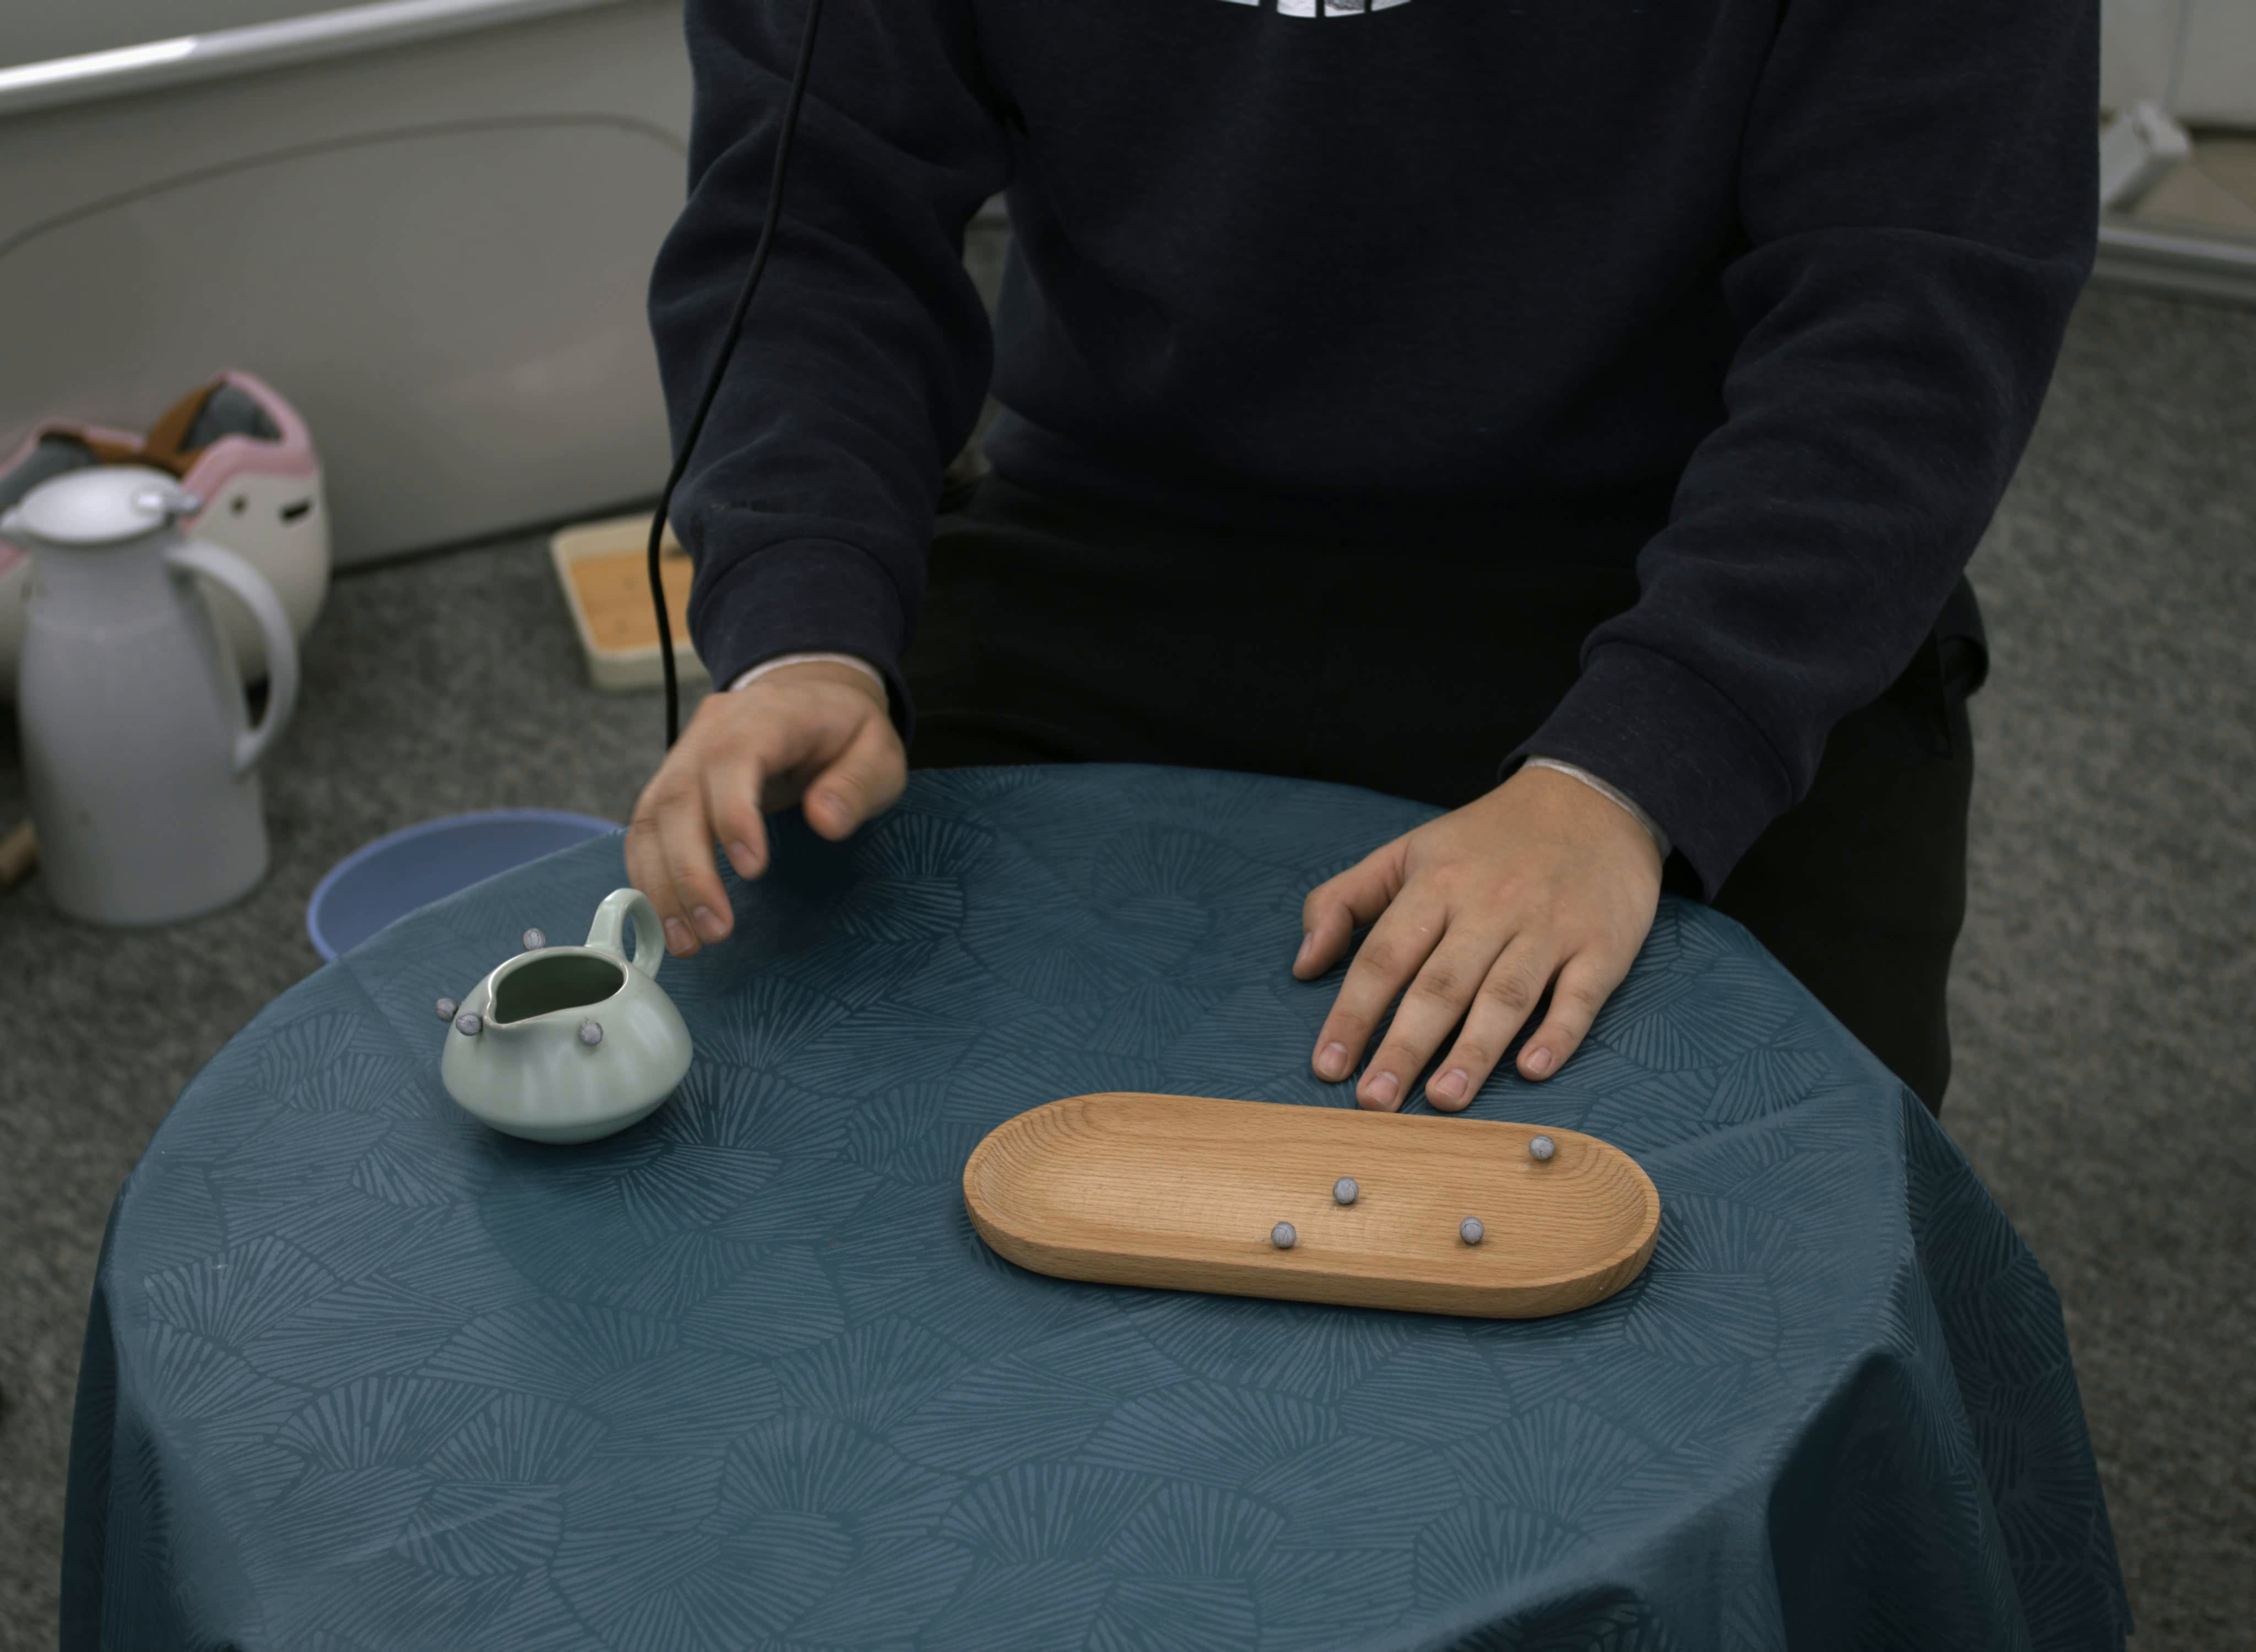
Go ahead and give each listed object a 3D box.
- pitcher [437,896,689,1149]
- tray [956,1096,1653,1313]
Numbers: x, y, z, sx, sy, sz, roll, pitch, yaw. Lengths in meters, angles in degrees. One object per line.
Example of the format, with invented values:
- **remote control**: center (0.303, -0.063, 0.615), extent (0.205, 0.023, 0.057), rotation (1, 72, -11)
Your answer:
- **pitcher**: center (-0.189, 0.069, 1.924), extent (0.085, 0.060, 0.110), rotation (9, 27, 19)
- **tray**: center (0.057, 0.124, 1.838), extent (0.229, 0.020, 0.103), rotation (2, 26, 13)
